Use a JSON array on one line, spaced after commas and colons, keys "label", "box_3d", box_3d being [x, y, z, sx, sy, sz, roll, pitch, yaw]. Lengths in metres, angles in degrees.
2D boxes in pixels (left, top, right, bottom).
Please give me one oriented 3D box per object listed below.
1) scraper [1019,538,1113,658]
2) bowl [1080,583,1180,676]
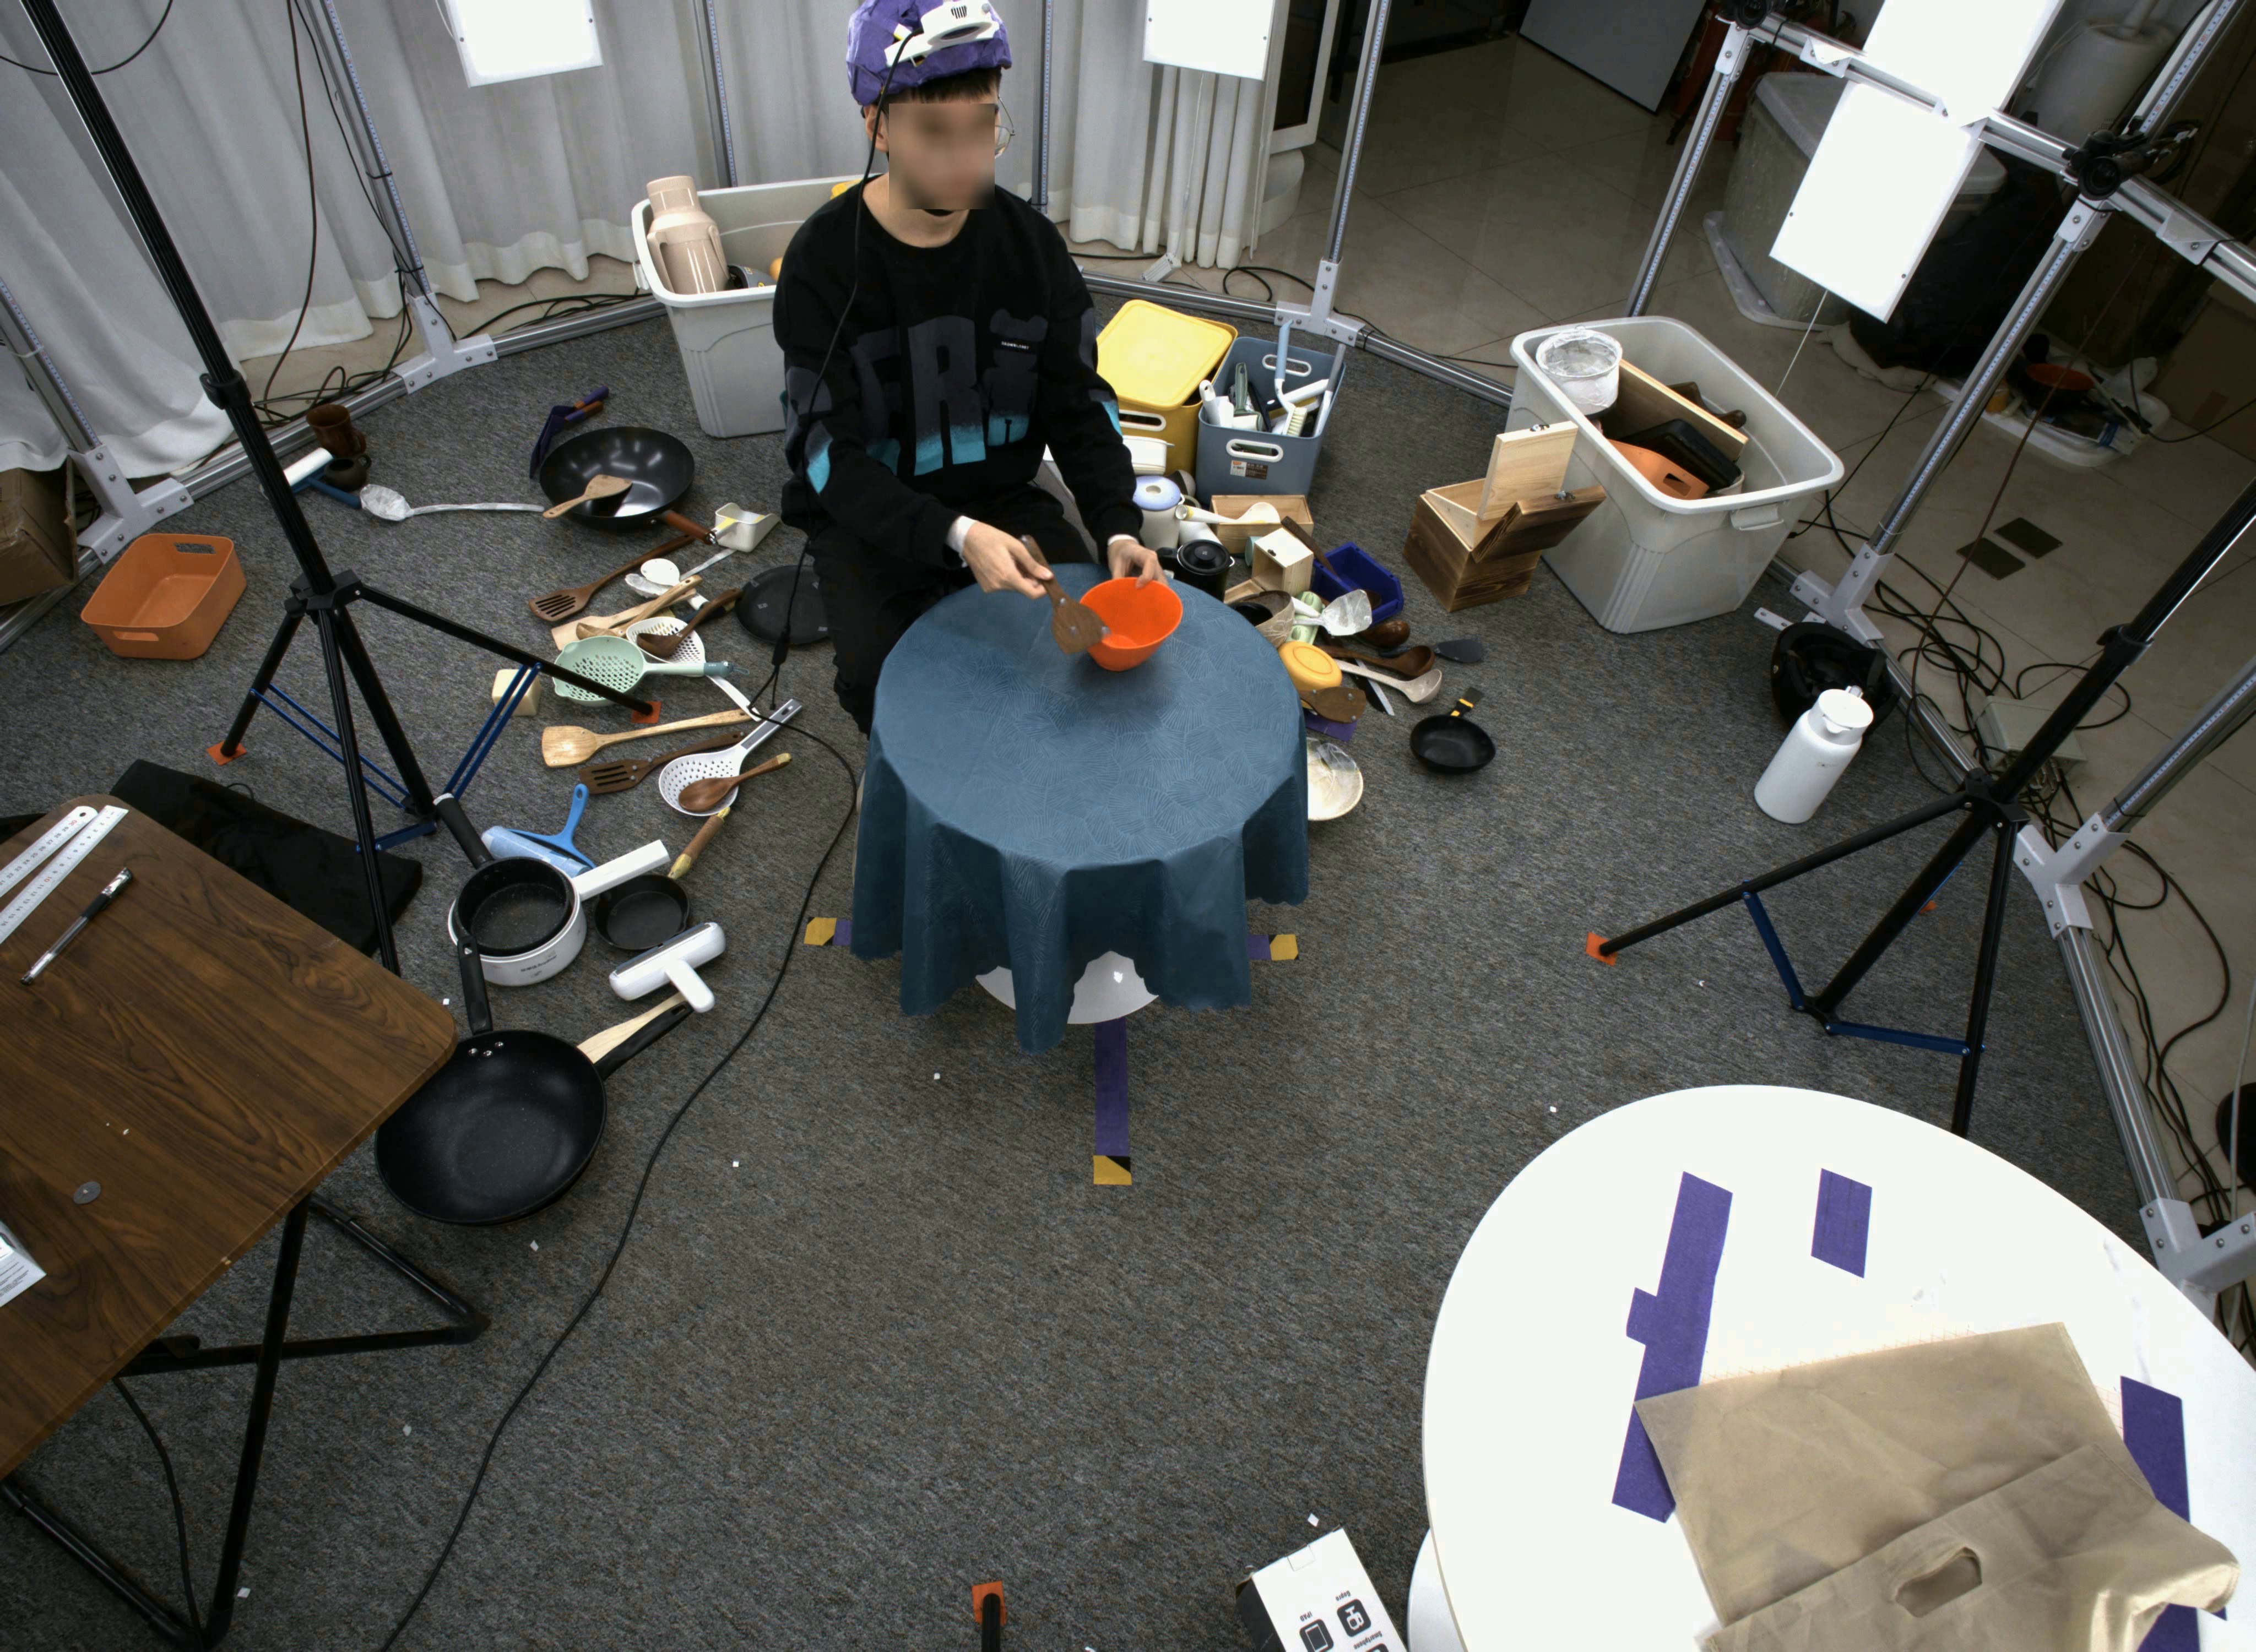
[{"label": "scraper", "box_3d": [-0.098, -0.326, 1.814, 0.076, 0.010, 0.215, -25, 66, -12]}, {"label": "bowl", "box_3d": [-0.003, -0.273, 1.857, 0.148, 0.102, 0.152, 2, 51, -3]}]
